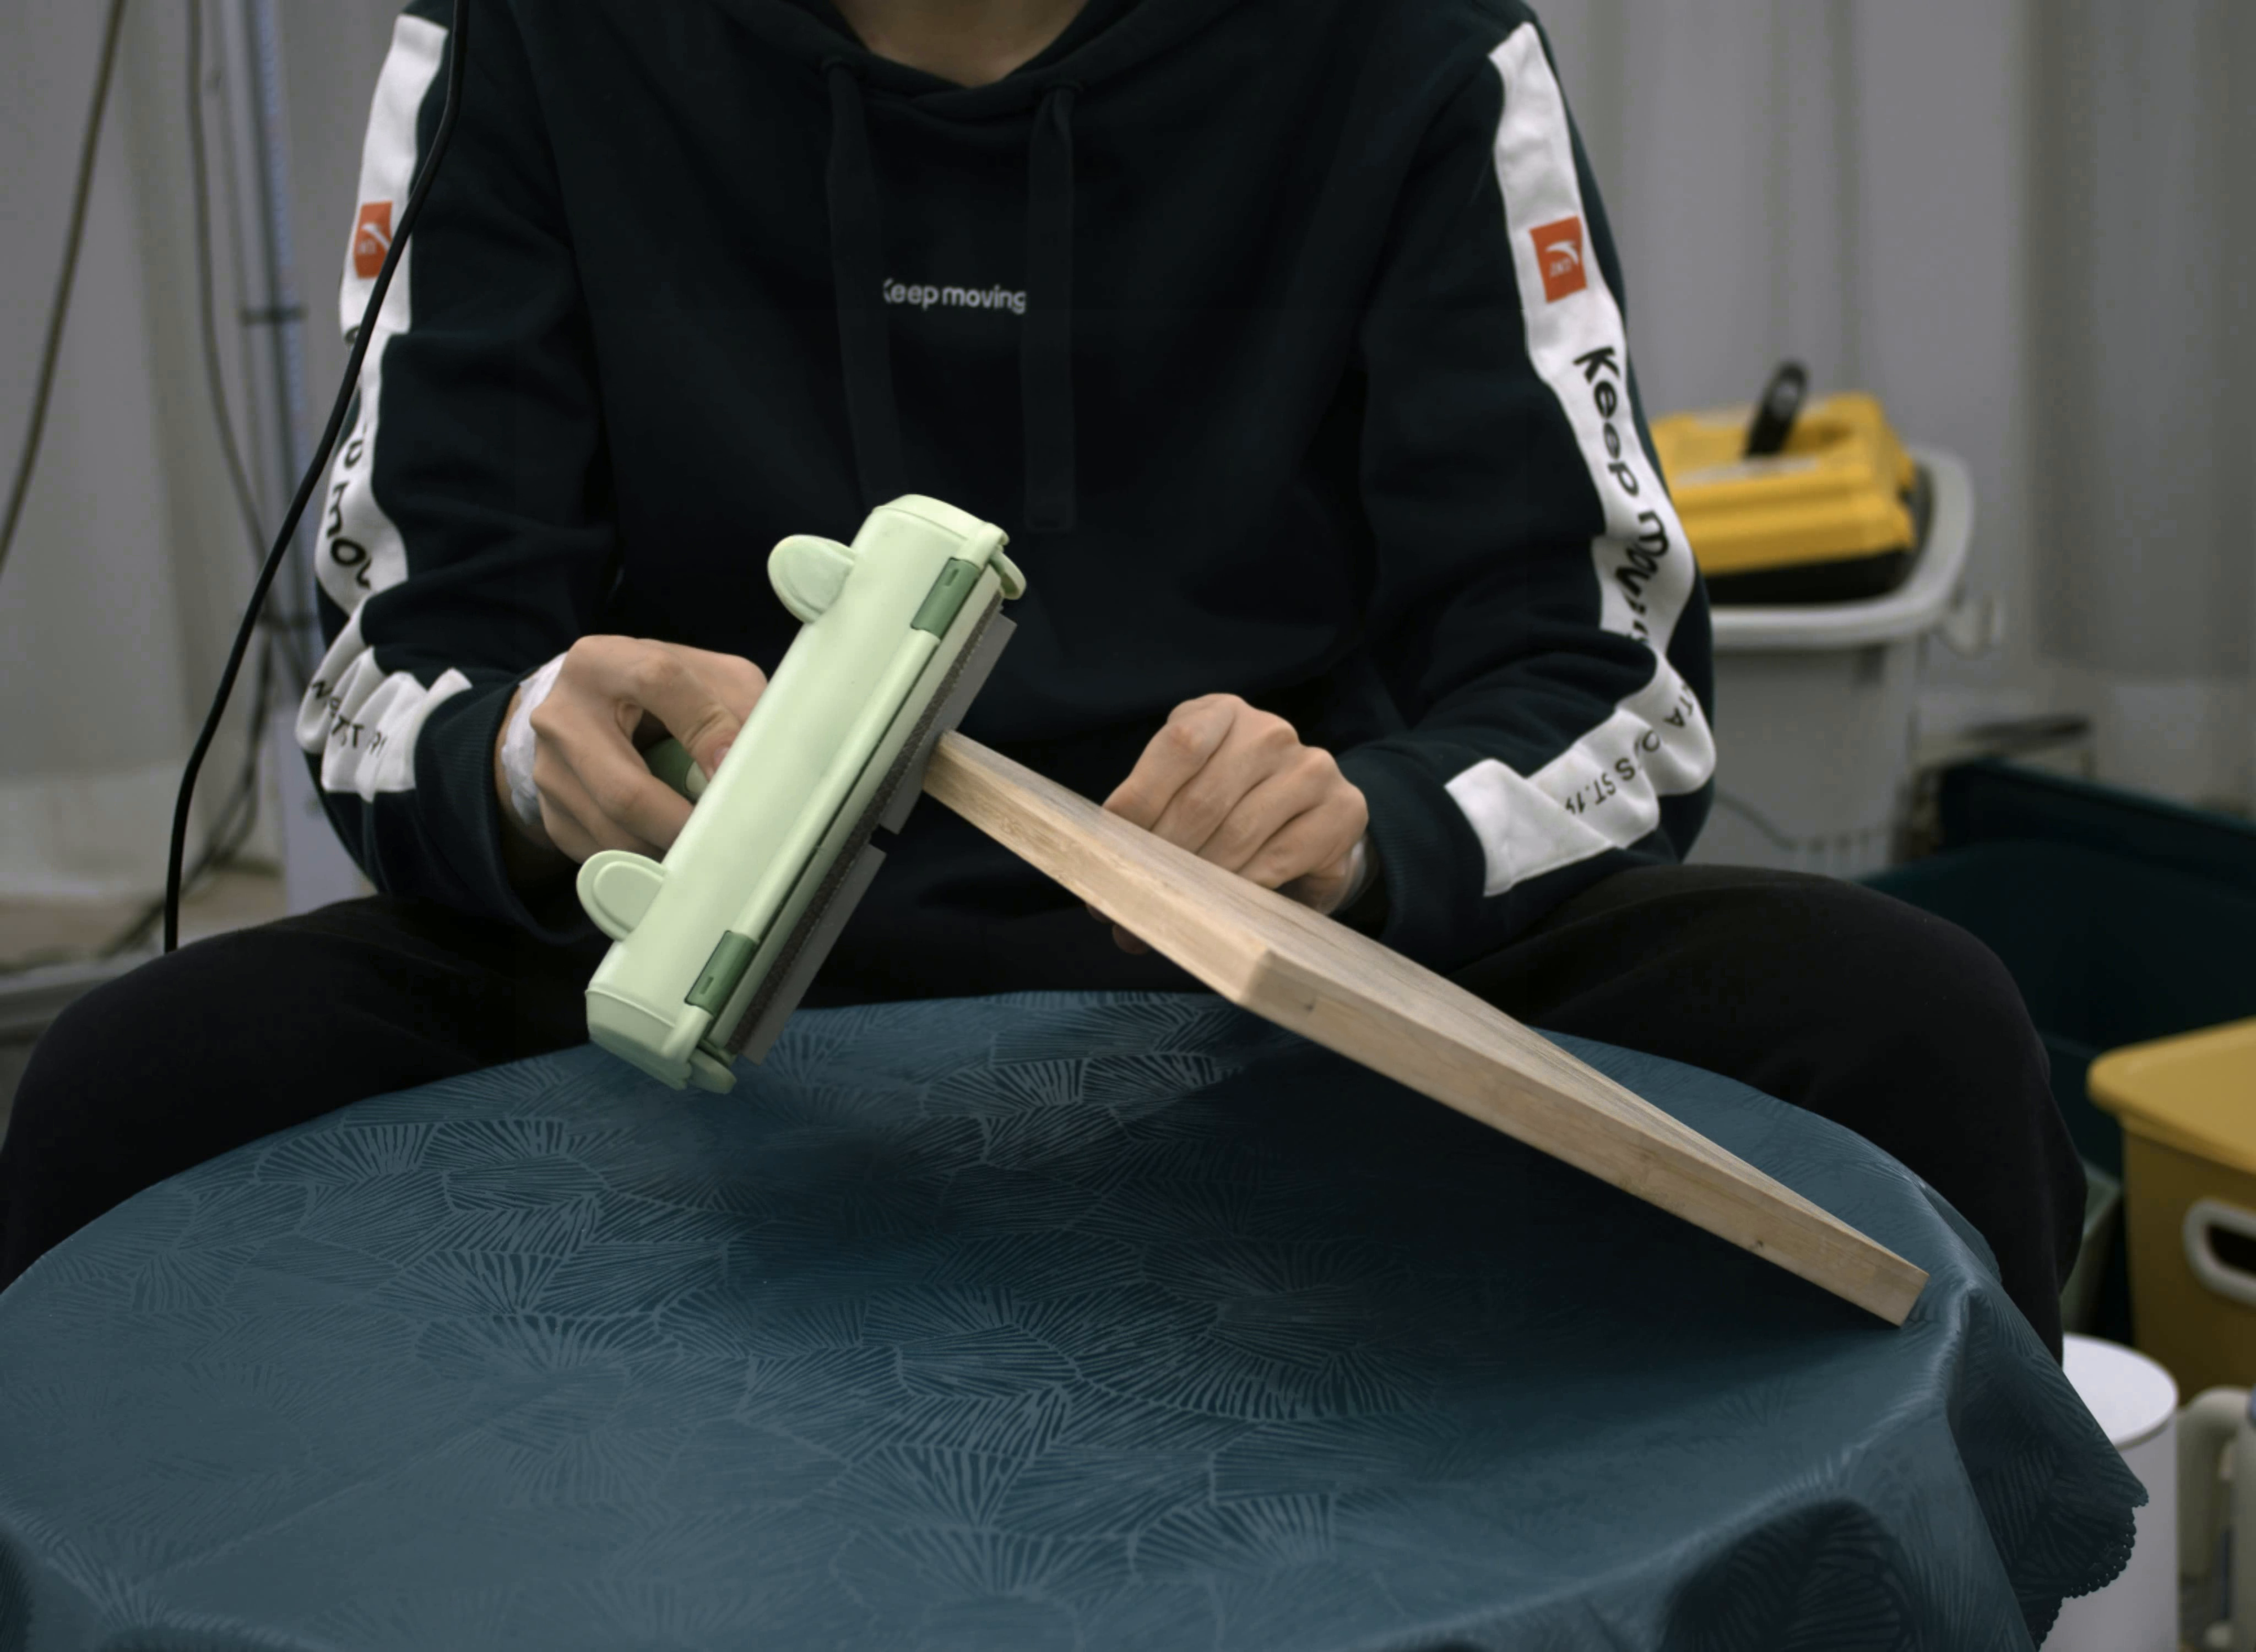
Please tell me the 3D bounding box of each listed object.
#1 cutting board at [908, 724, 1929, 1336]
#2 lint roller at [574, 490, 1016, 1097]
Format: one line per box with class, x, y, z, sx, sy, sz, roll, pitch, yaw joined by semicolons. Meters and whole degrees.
cutting board;0.067;0.050;1.669;0.248;0.023;0.351;27;2;-26
lint roller;-0.135;-0.019;1.727;0.081;0.200;0.184;38;-16;-31
